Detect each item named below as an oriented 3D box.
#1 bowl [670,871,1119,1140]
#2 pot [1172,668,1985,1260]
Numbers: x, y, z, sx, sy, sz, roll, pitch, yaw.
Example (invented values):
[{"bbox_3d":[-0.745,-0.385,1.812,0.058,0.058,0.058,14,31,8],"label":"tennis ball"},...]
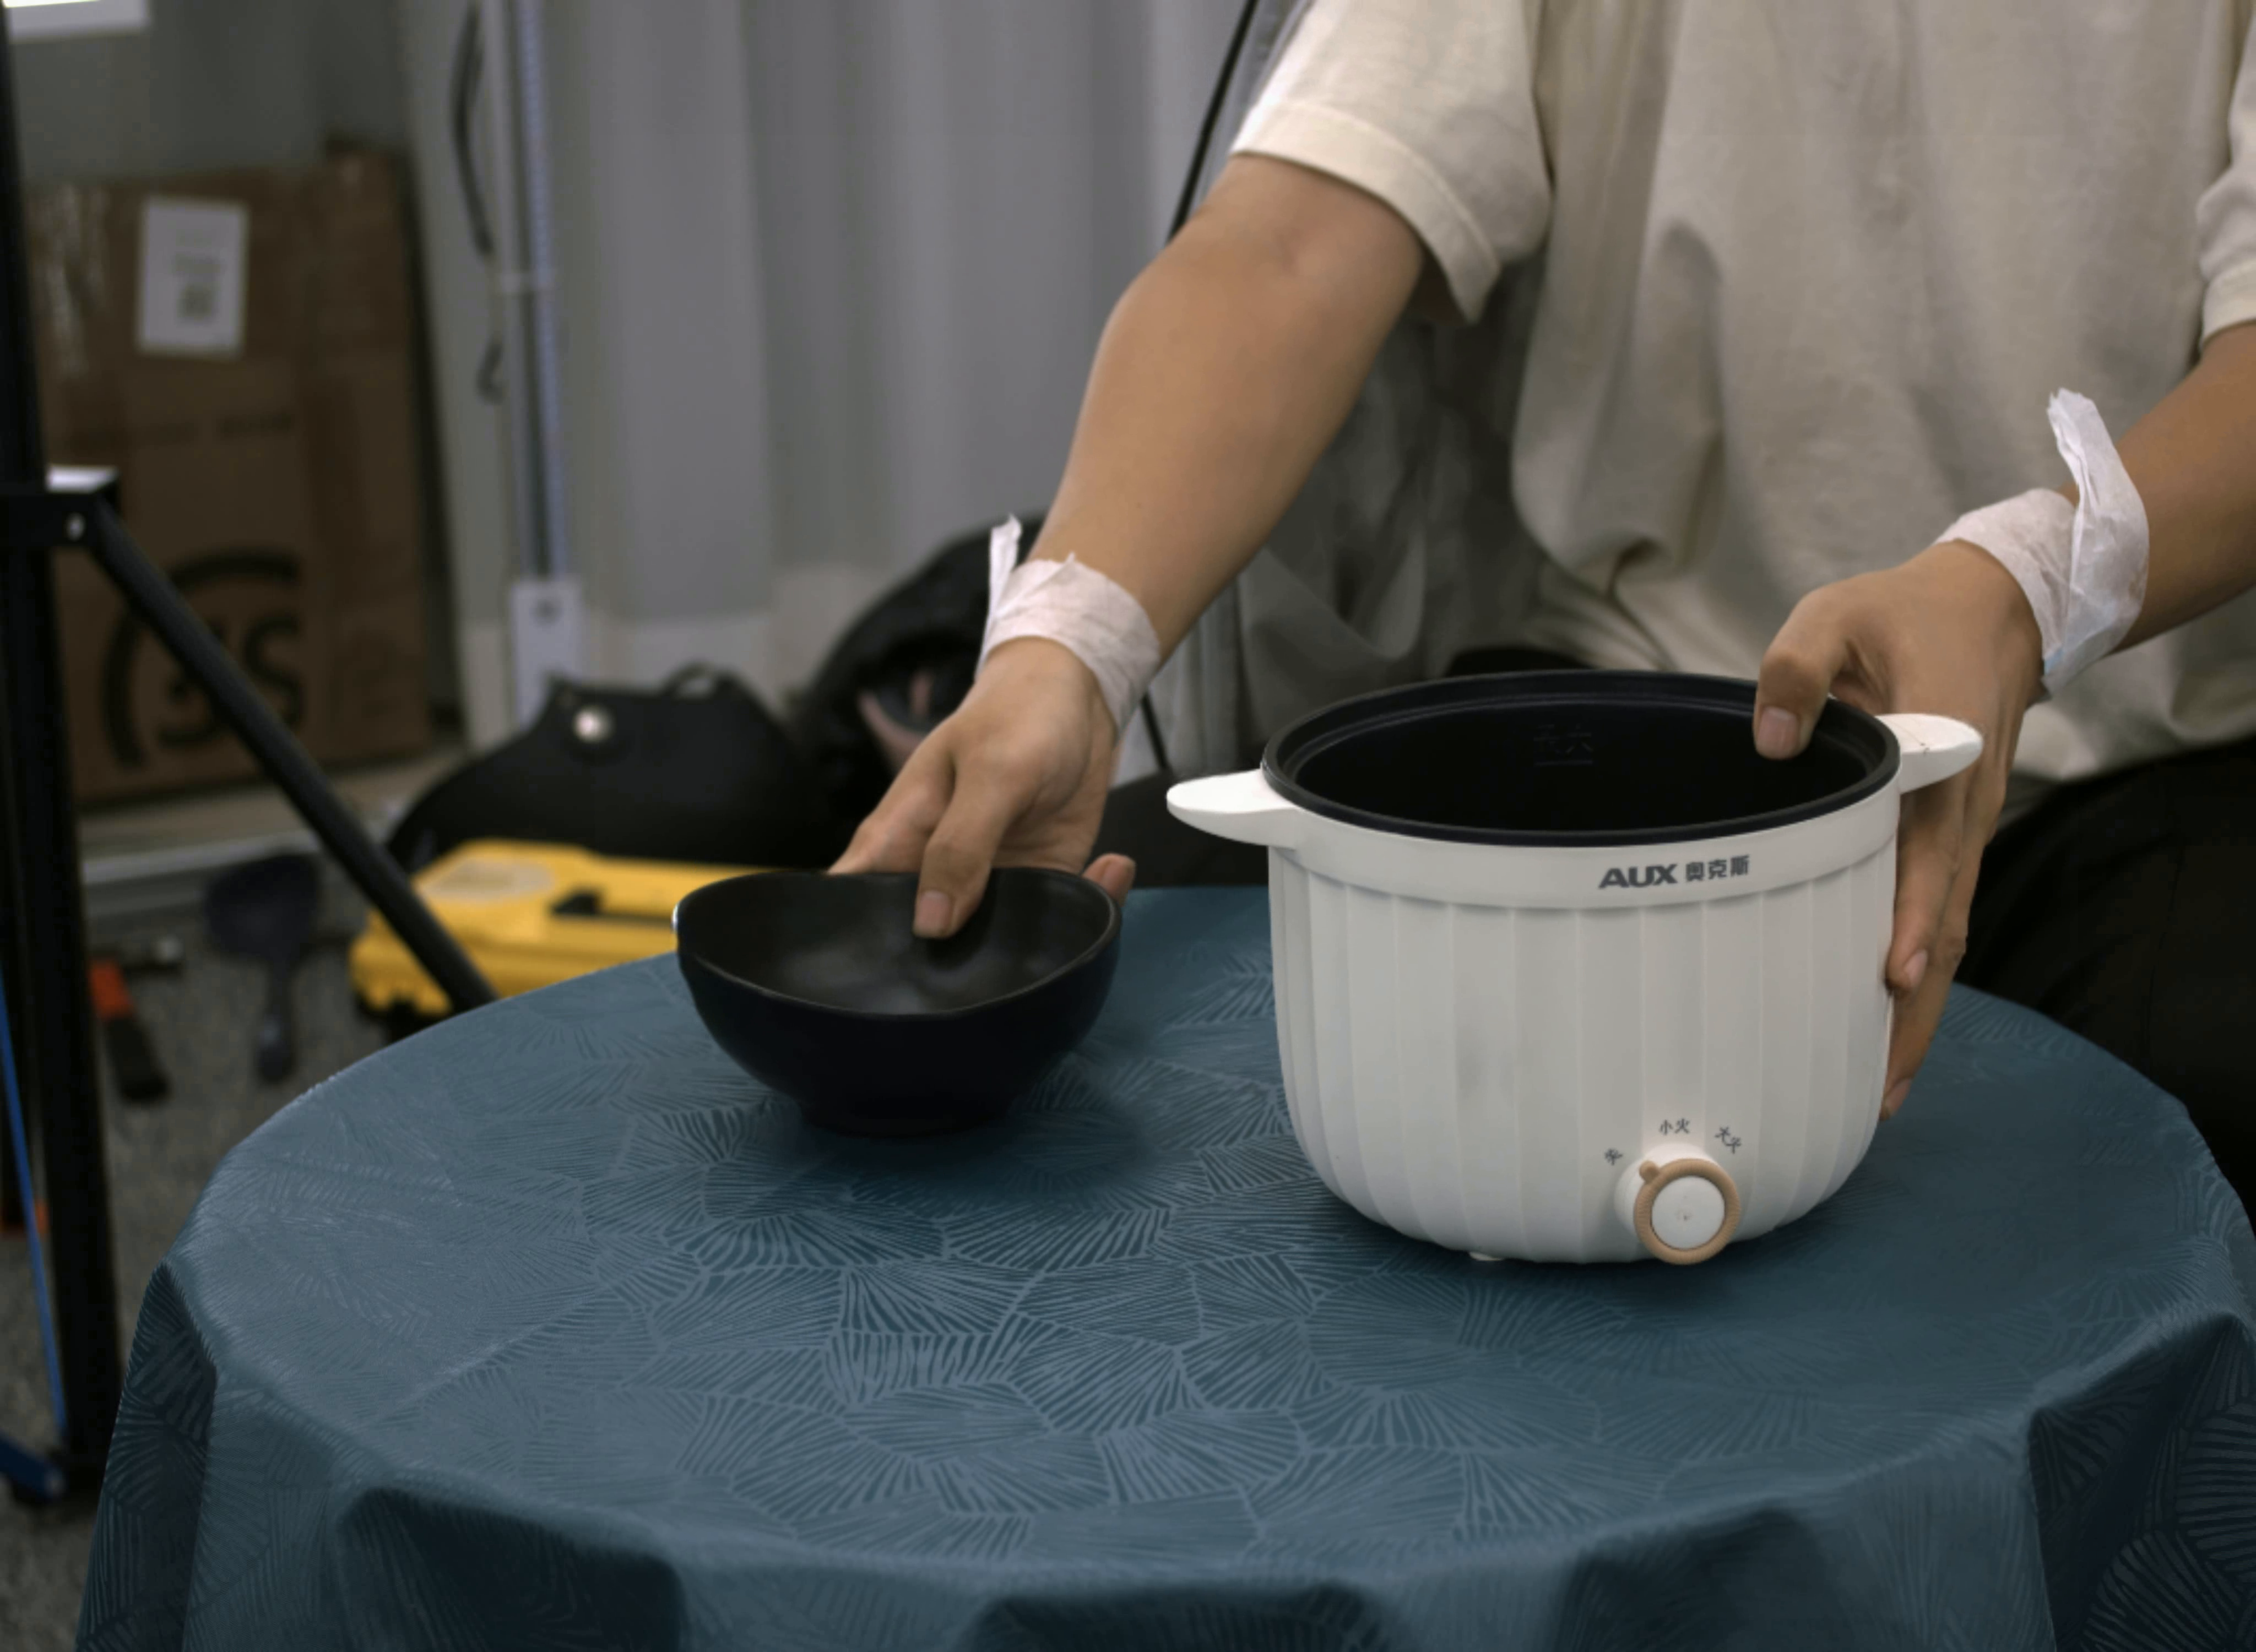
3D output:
[{"bbox_3d":[-0.071,0.056,1.633,0.136,0.067,0.171,-1,15,-4],"label":"bowl"},{"bbox_3d":[0.133,0.042,1.512,0.237,0.143,0.193,-6,12,-10],"label":"pot"}]
